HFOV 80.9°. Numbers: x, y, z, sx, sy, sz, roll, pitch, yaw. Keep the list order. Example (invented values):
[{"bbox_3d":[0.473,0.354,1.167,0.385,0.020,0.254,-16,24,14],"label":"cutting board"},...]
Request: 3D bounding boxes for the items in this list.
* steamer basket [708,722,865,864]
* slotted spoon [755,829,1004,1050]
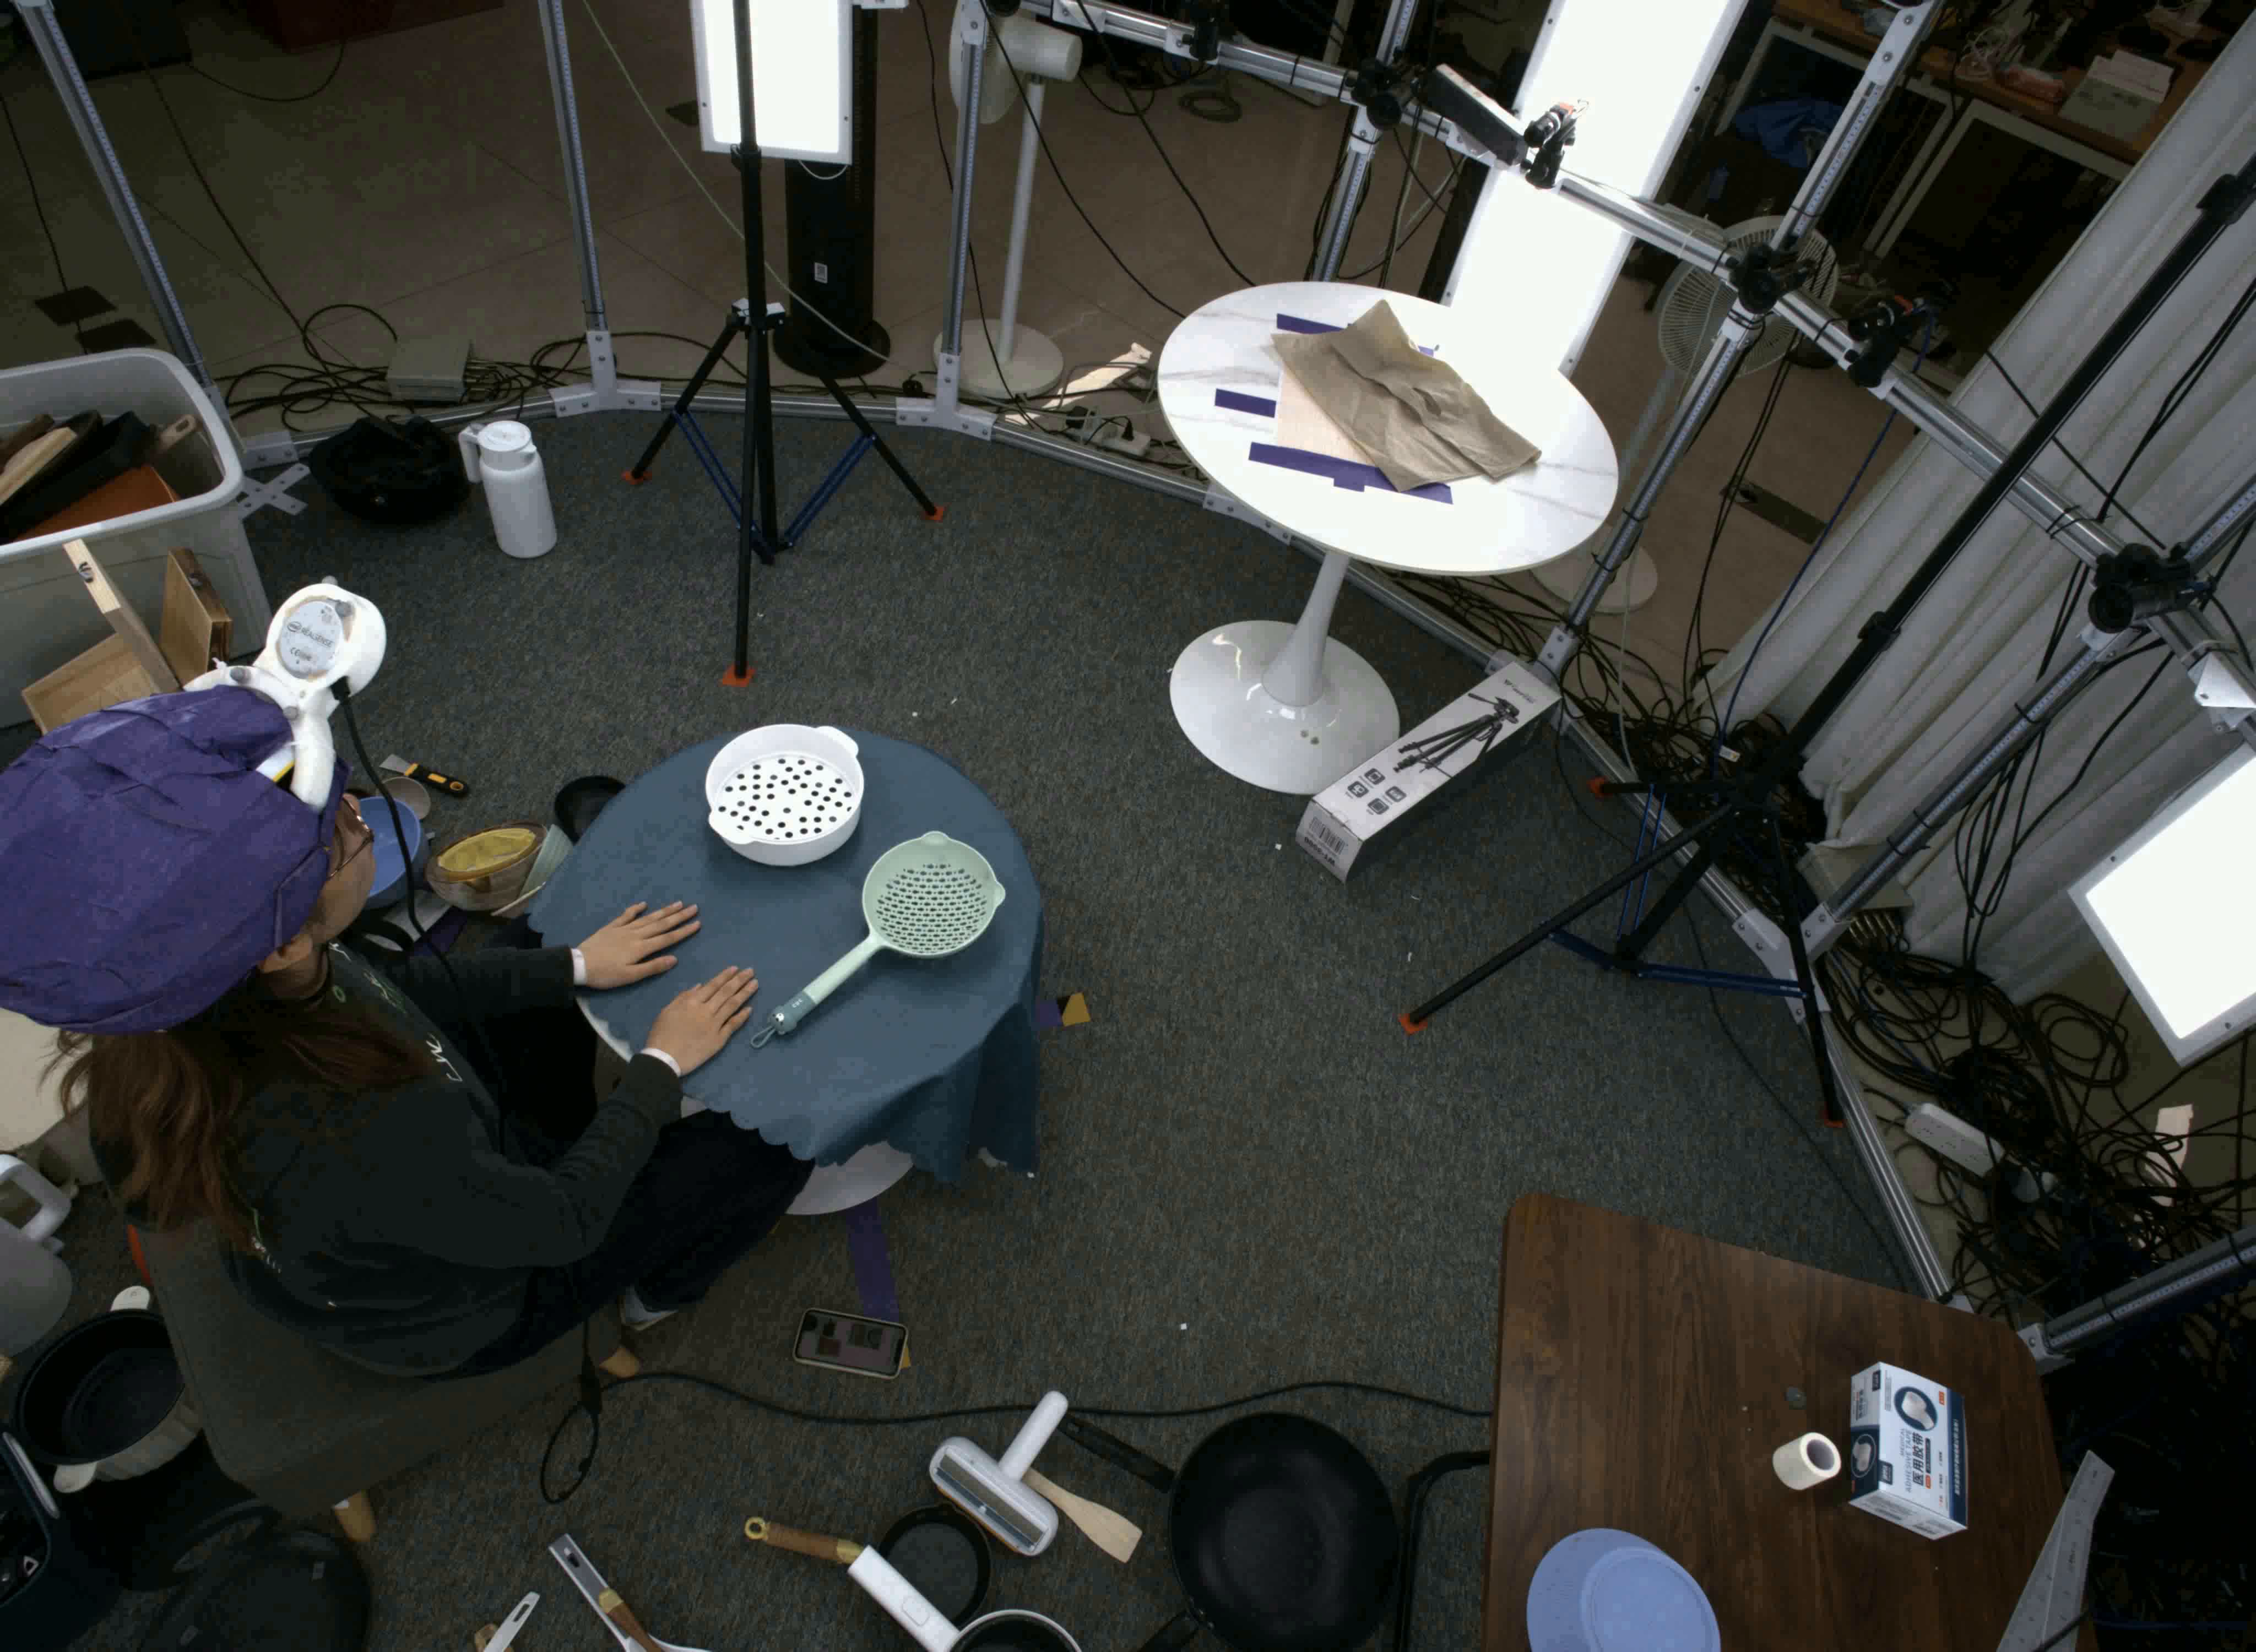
[{"bbox_3d":[-0.449,-0.042,1.713,0.198,0.071,0.230,32,53,12],"label":"steamer basket"},{"bbox_3d":[-0.316,0.147,1.606,0.165,0.077,0.359,40,55,17],"label":"slotted spoon"}]
